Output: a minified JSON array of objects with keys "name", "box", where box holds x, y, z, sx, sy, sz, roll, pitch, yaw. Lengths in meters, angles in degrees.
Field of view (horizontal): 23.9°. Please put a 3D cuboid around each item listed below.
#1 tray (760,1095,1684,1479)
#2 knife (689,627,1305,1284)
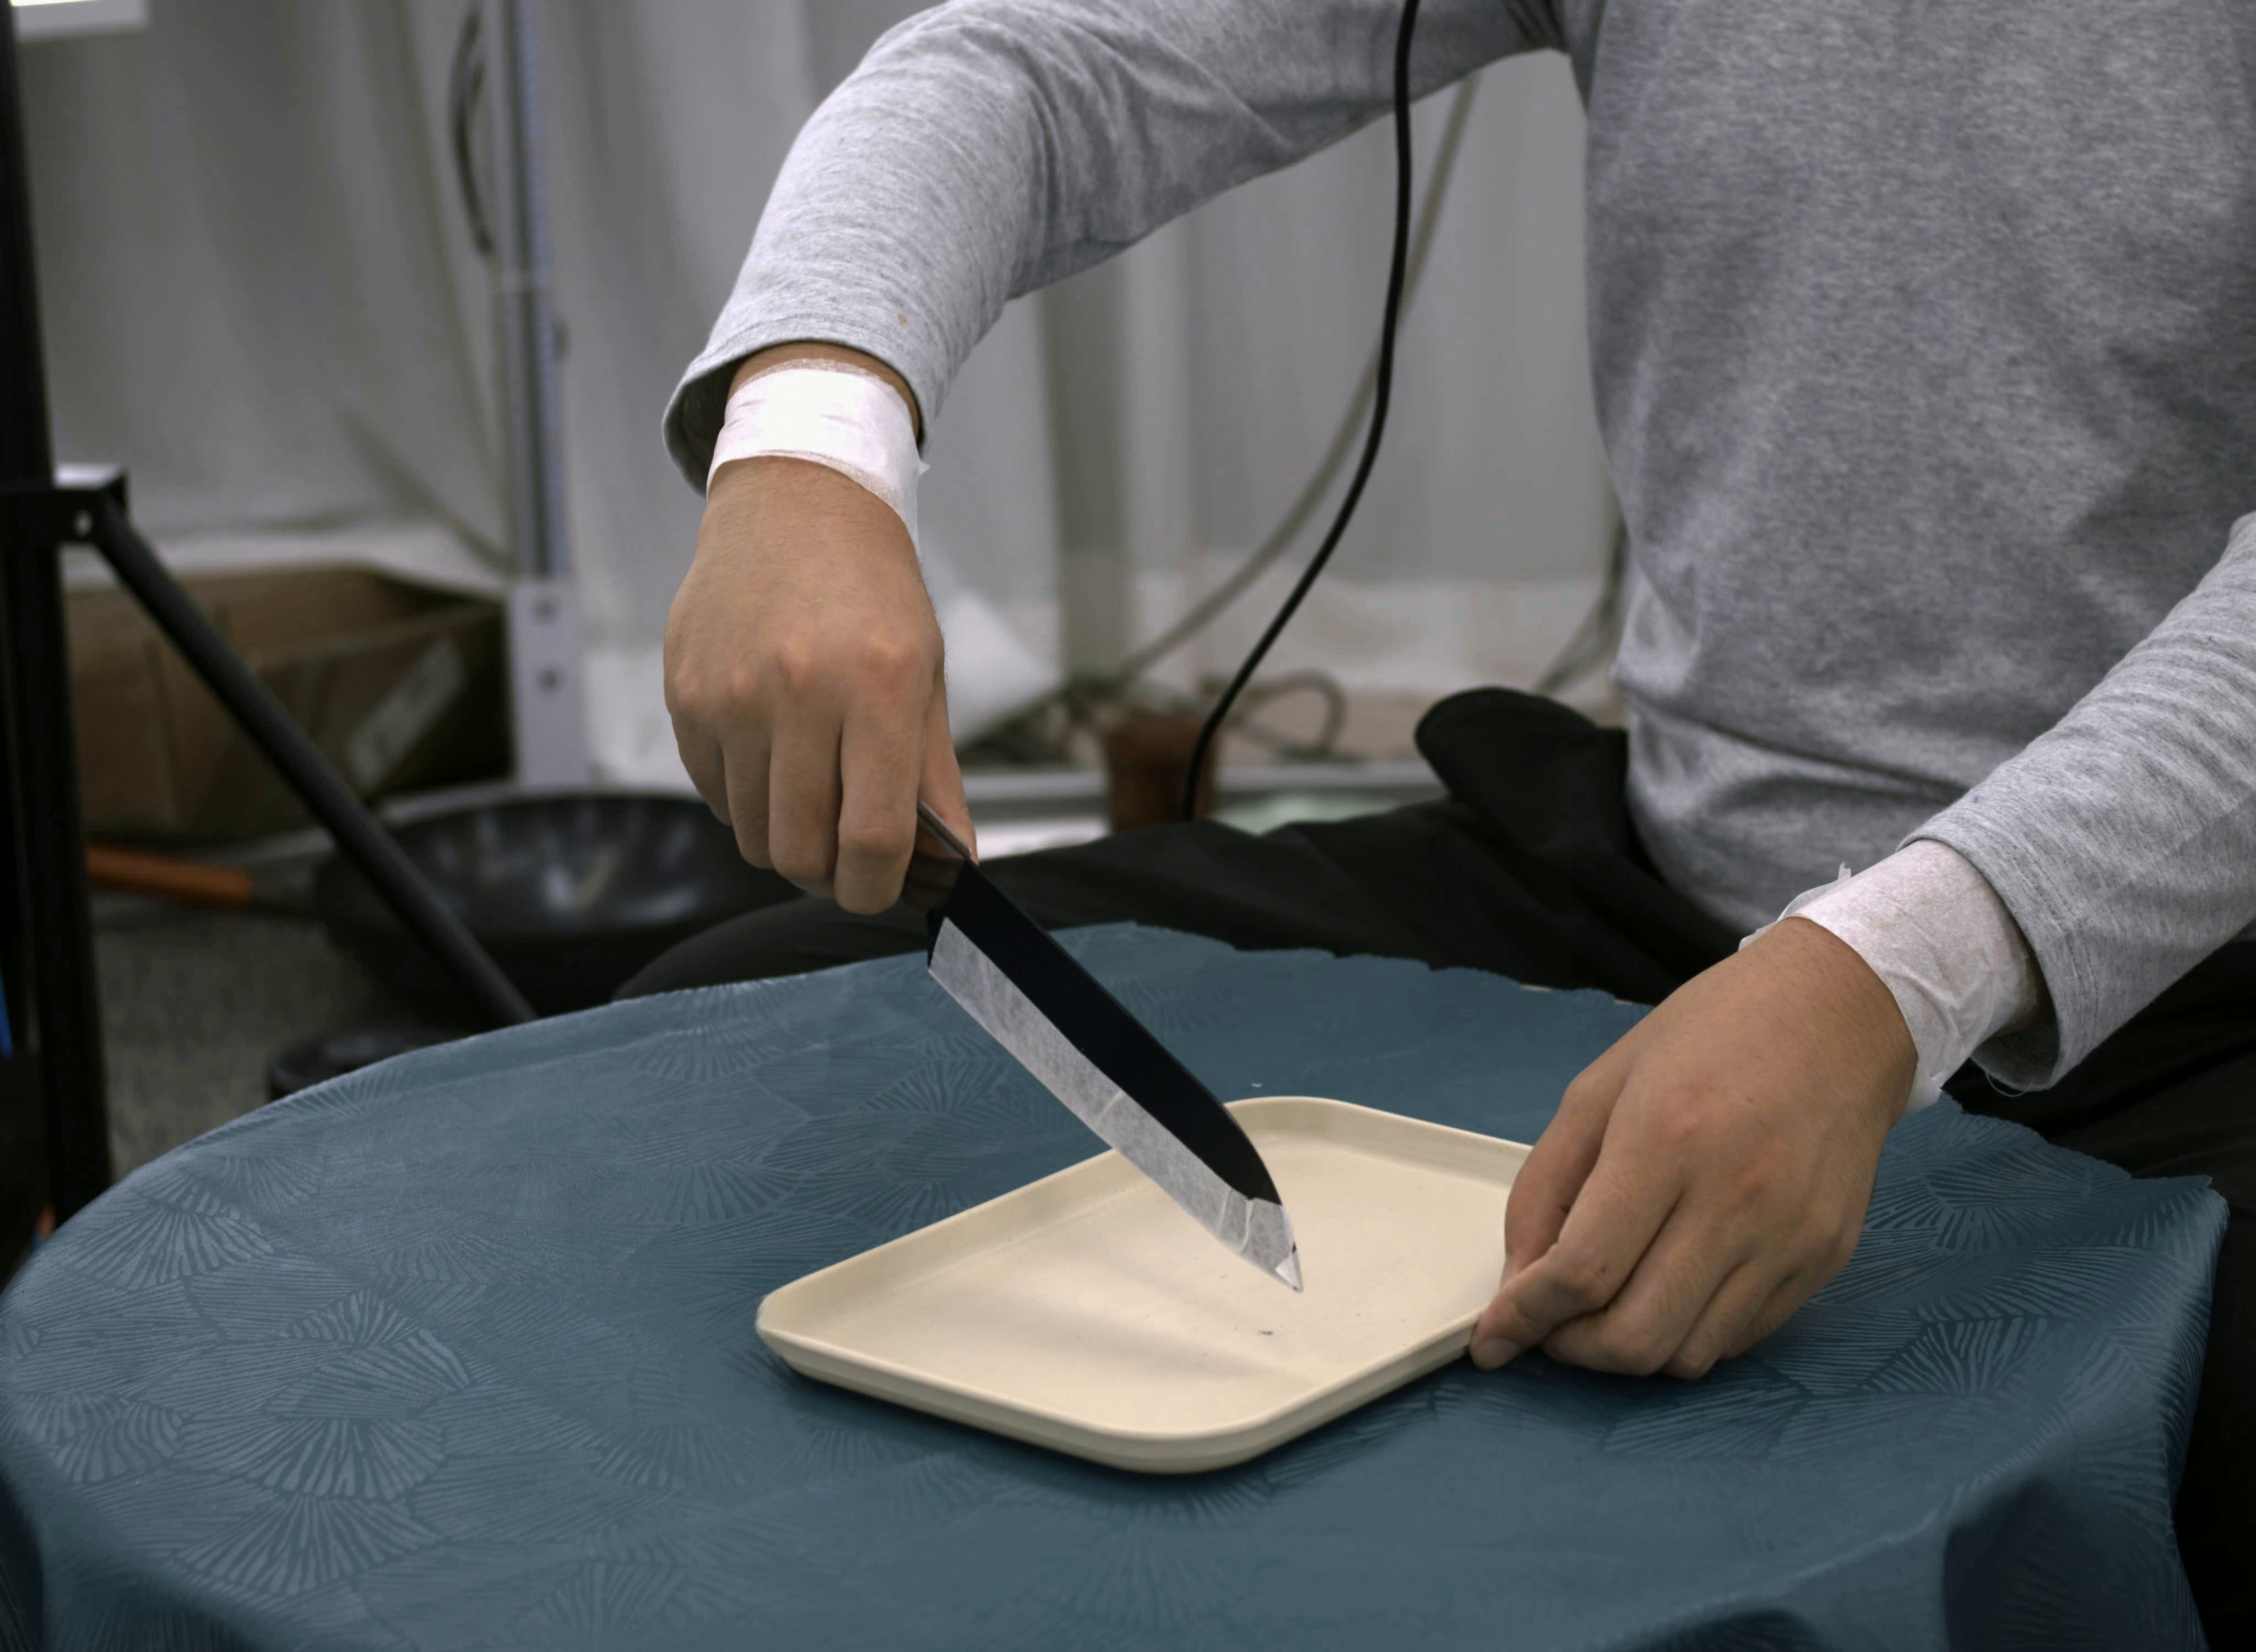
[{"name":"tray","box":[0.029,0.125,1.464,0.175,0.017,0.234,12,21,41]},{"name":"knife","box":[-0.038,0.033,1.491,0.019,0.050,0.295,-17,47,-35]}]
